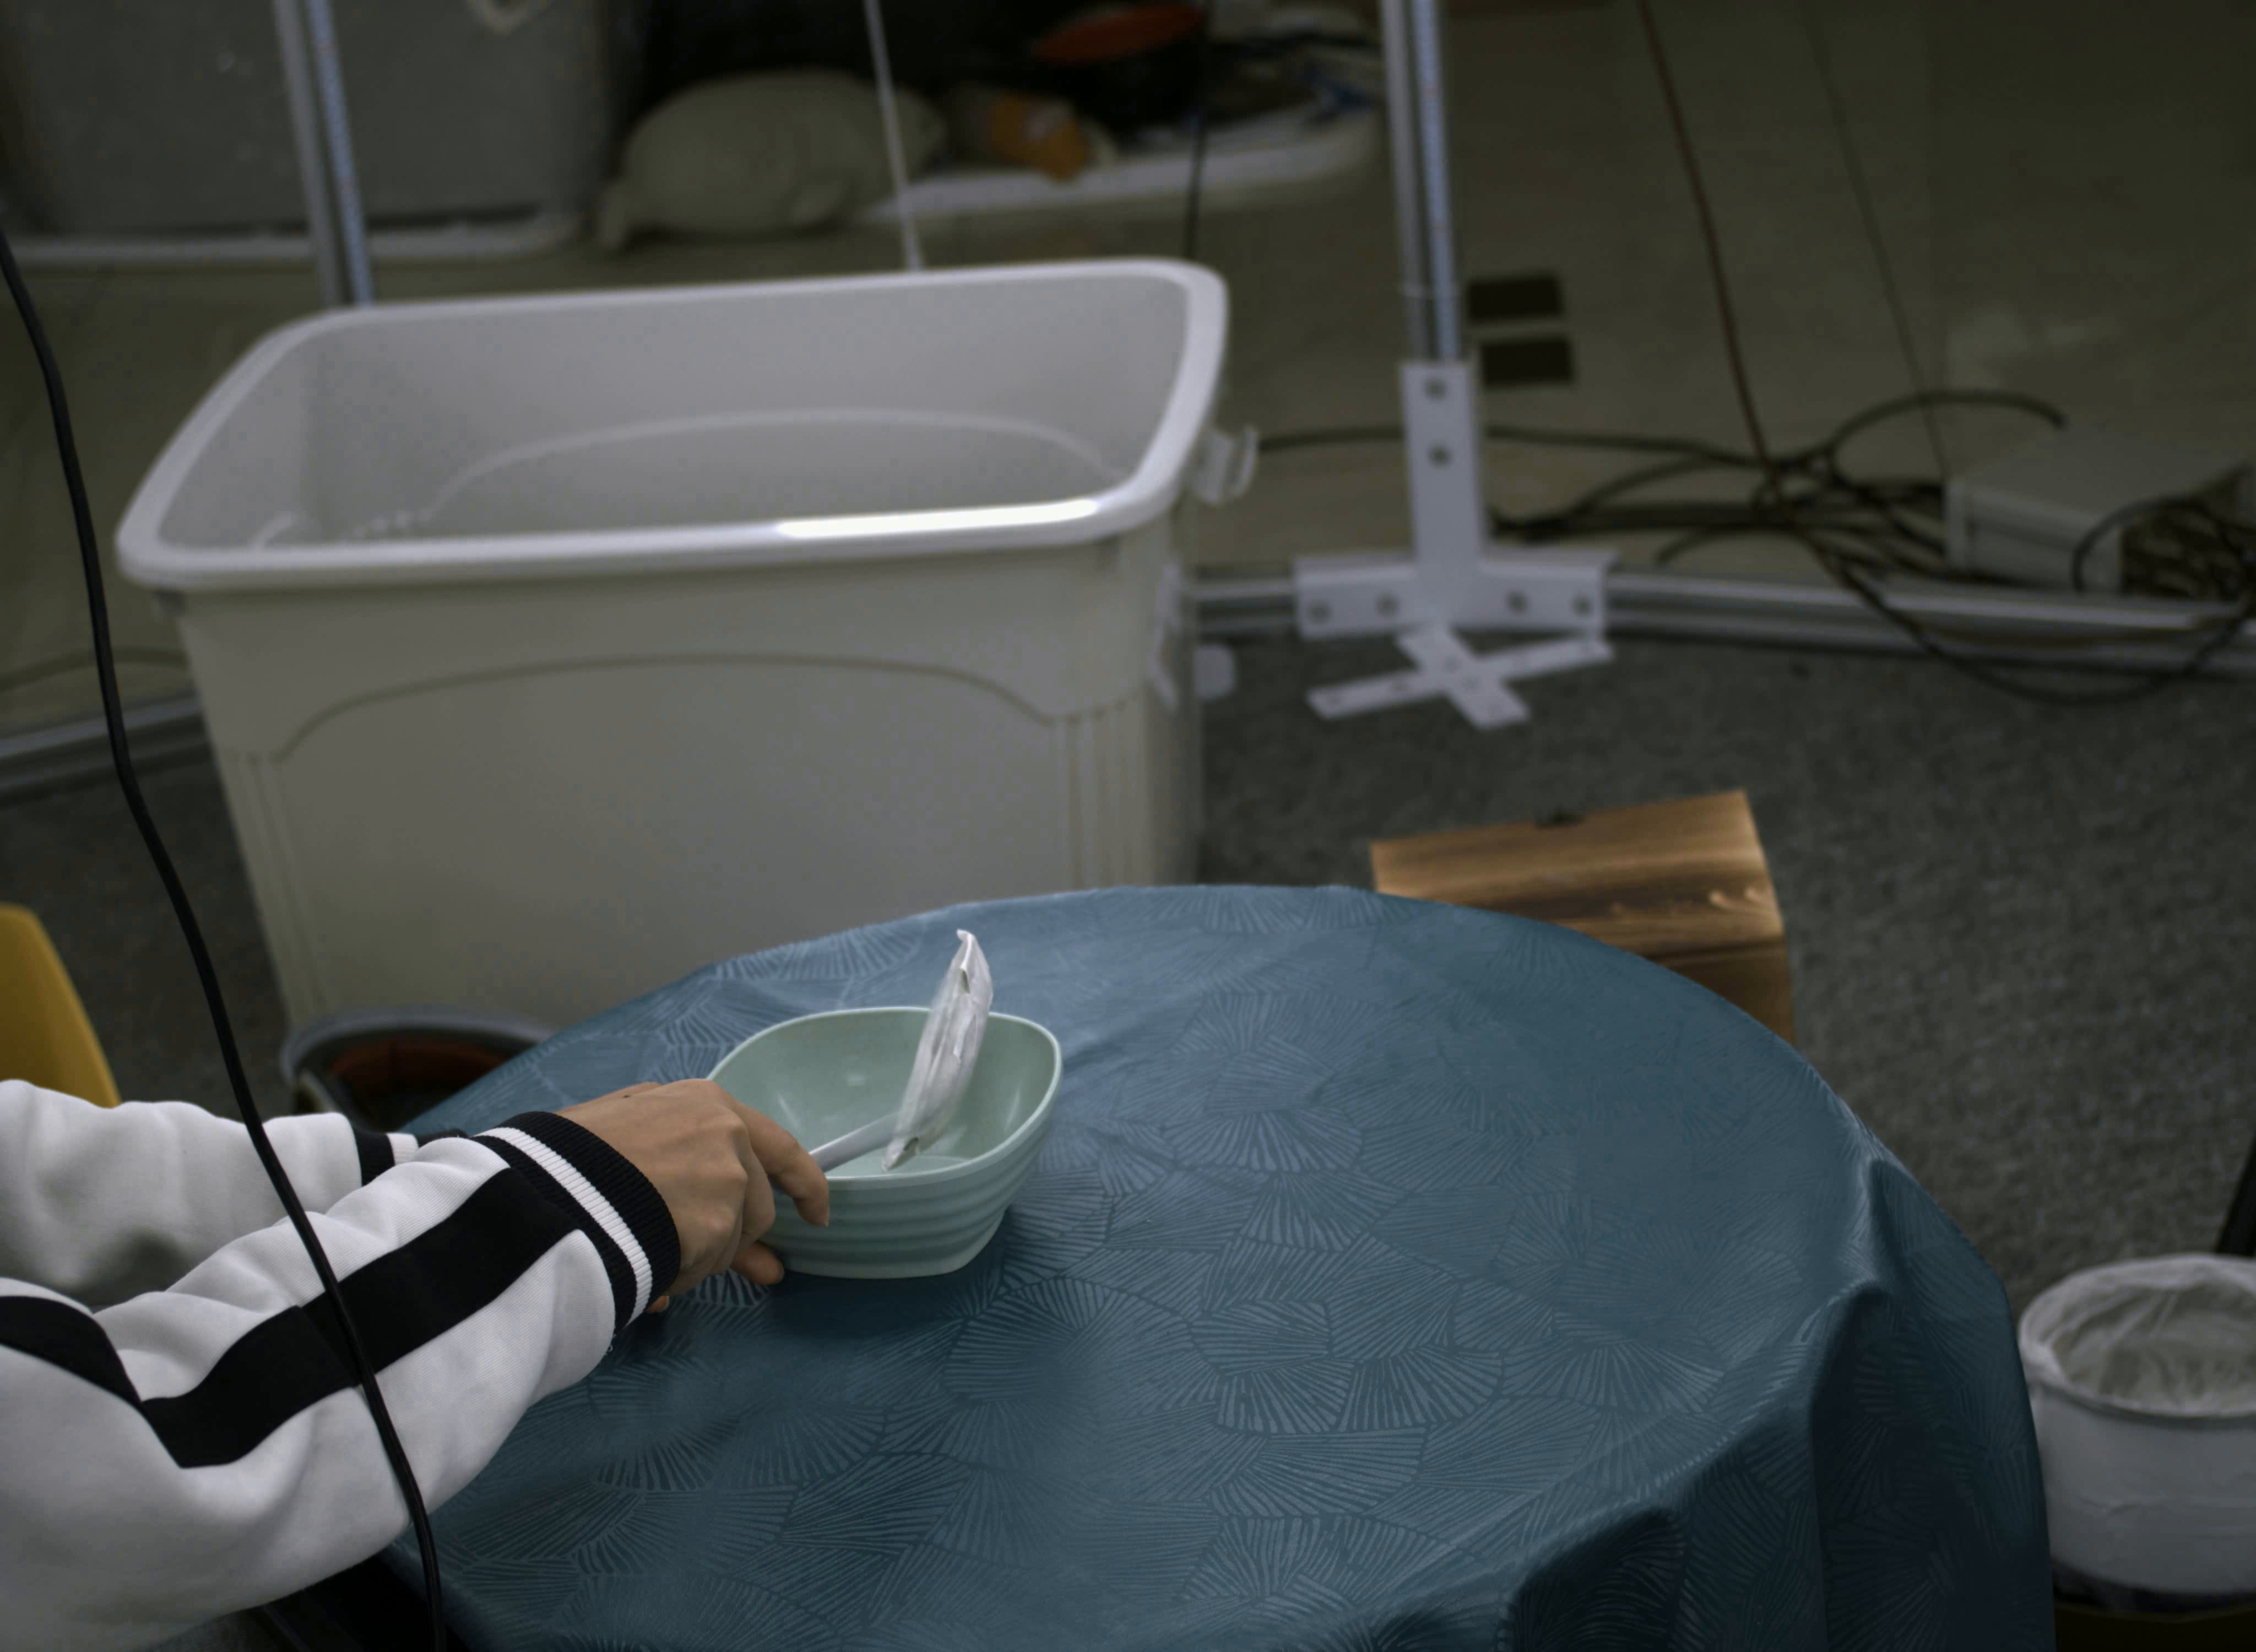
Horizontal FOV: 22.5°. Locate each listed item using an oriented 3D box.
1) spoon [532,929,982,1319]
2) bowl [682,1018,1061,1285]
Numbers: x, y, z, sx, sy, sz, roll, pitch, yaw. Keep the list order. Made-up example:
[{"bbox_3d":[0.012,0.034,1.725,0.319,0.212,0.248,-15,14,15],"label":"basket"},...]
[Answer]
[{"bbox_3d":[-0.137,0.115,2.039,0.059,0.102,0.275,35,36,25],"label":"spoon"},{"bbox_3d":[-0.093,0.127,2.132,0.151,0.059,0.149,-5,24,2],"label":"bowl"}]
